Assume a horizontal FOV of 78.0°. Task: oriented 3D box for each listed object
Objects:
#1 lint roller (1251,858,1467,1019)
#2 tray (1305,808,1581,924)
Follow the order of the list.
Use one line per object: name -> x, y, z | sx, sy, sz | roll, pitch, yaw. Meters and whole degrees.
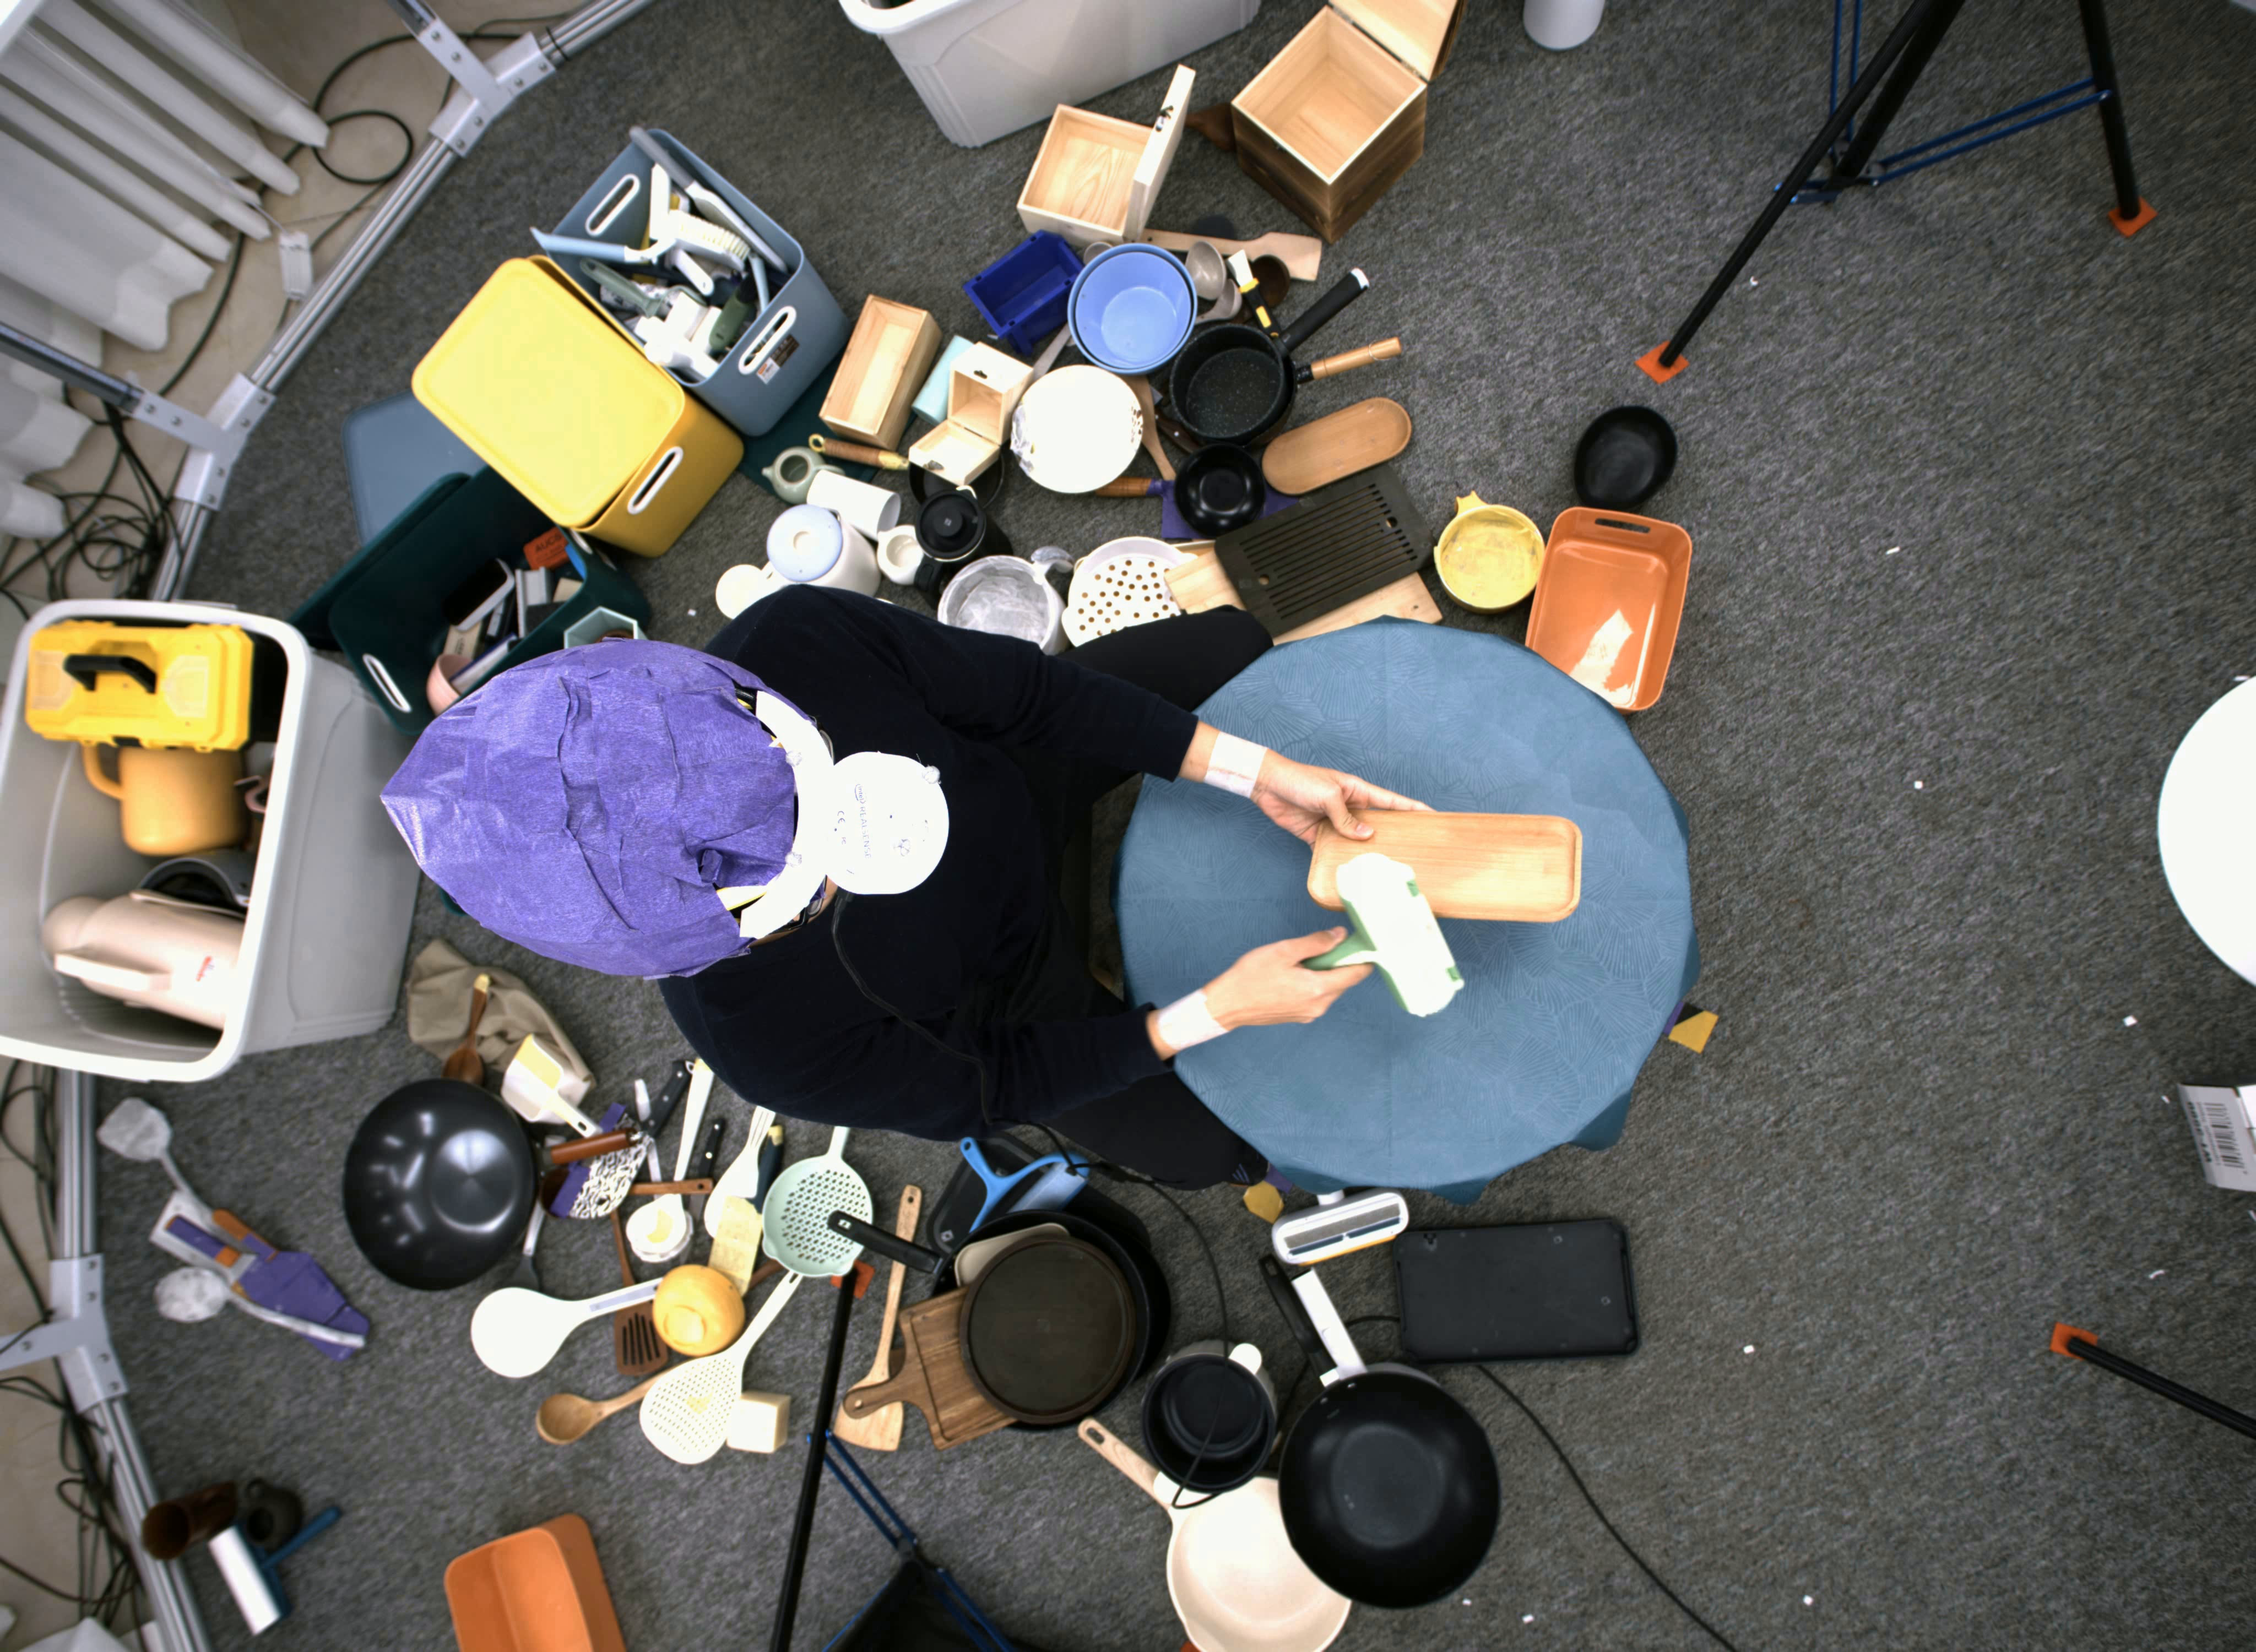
lint roller -> 0.204, 0.133, 1.269 | 0.184, 0.202, 0.080 | -28, 42, 8
tray -> 0.297, 0.036, 1.304 | 0.252, 0.023, 0.127 | 2, 46, 19
